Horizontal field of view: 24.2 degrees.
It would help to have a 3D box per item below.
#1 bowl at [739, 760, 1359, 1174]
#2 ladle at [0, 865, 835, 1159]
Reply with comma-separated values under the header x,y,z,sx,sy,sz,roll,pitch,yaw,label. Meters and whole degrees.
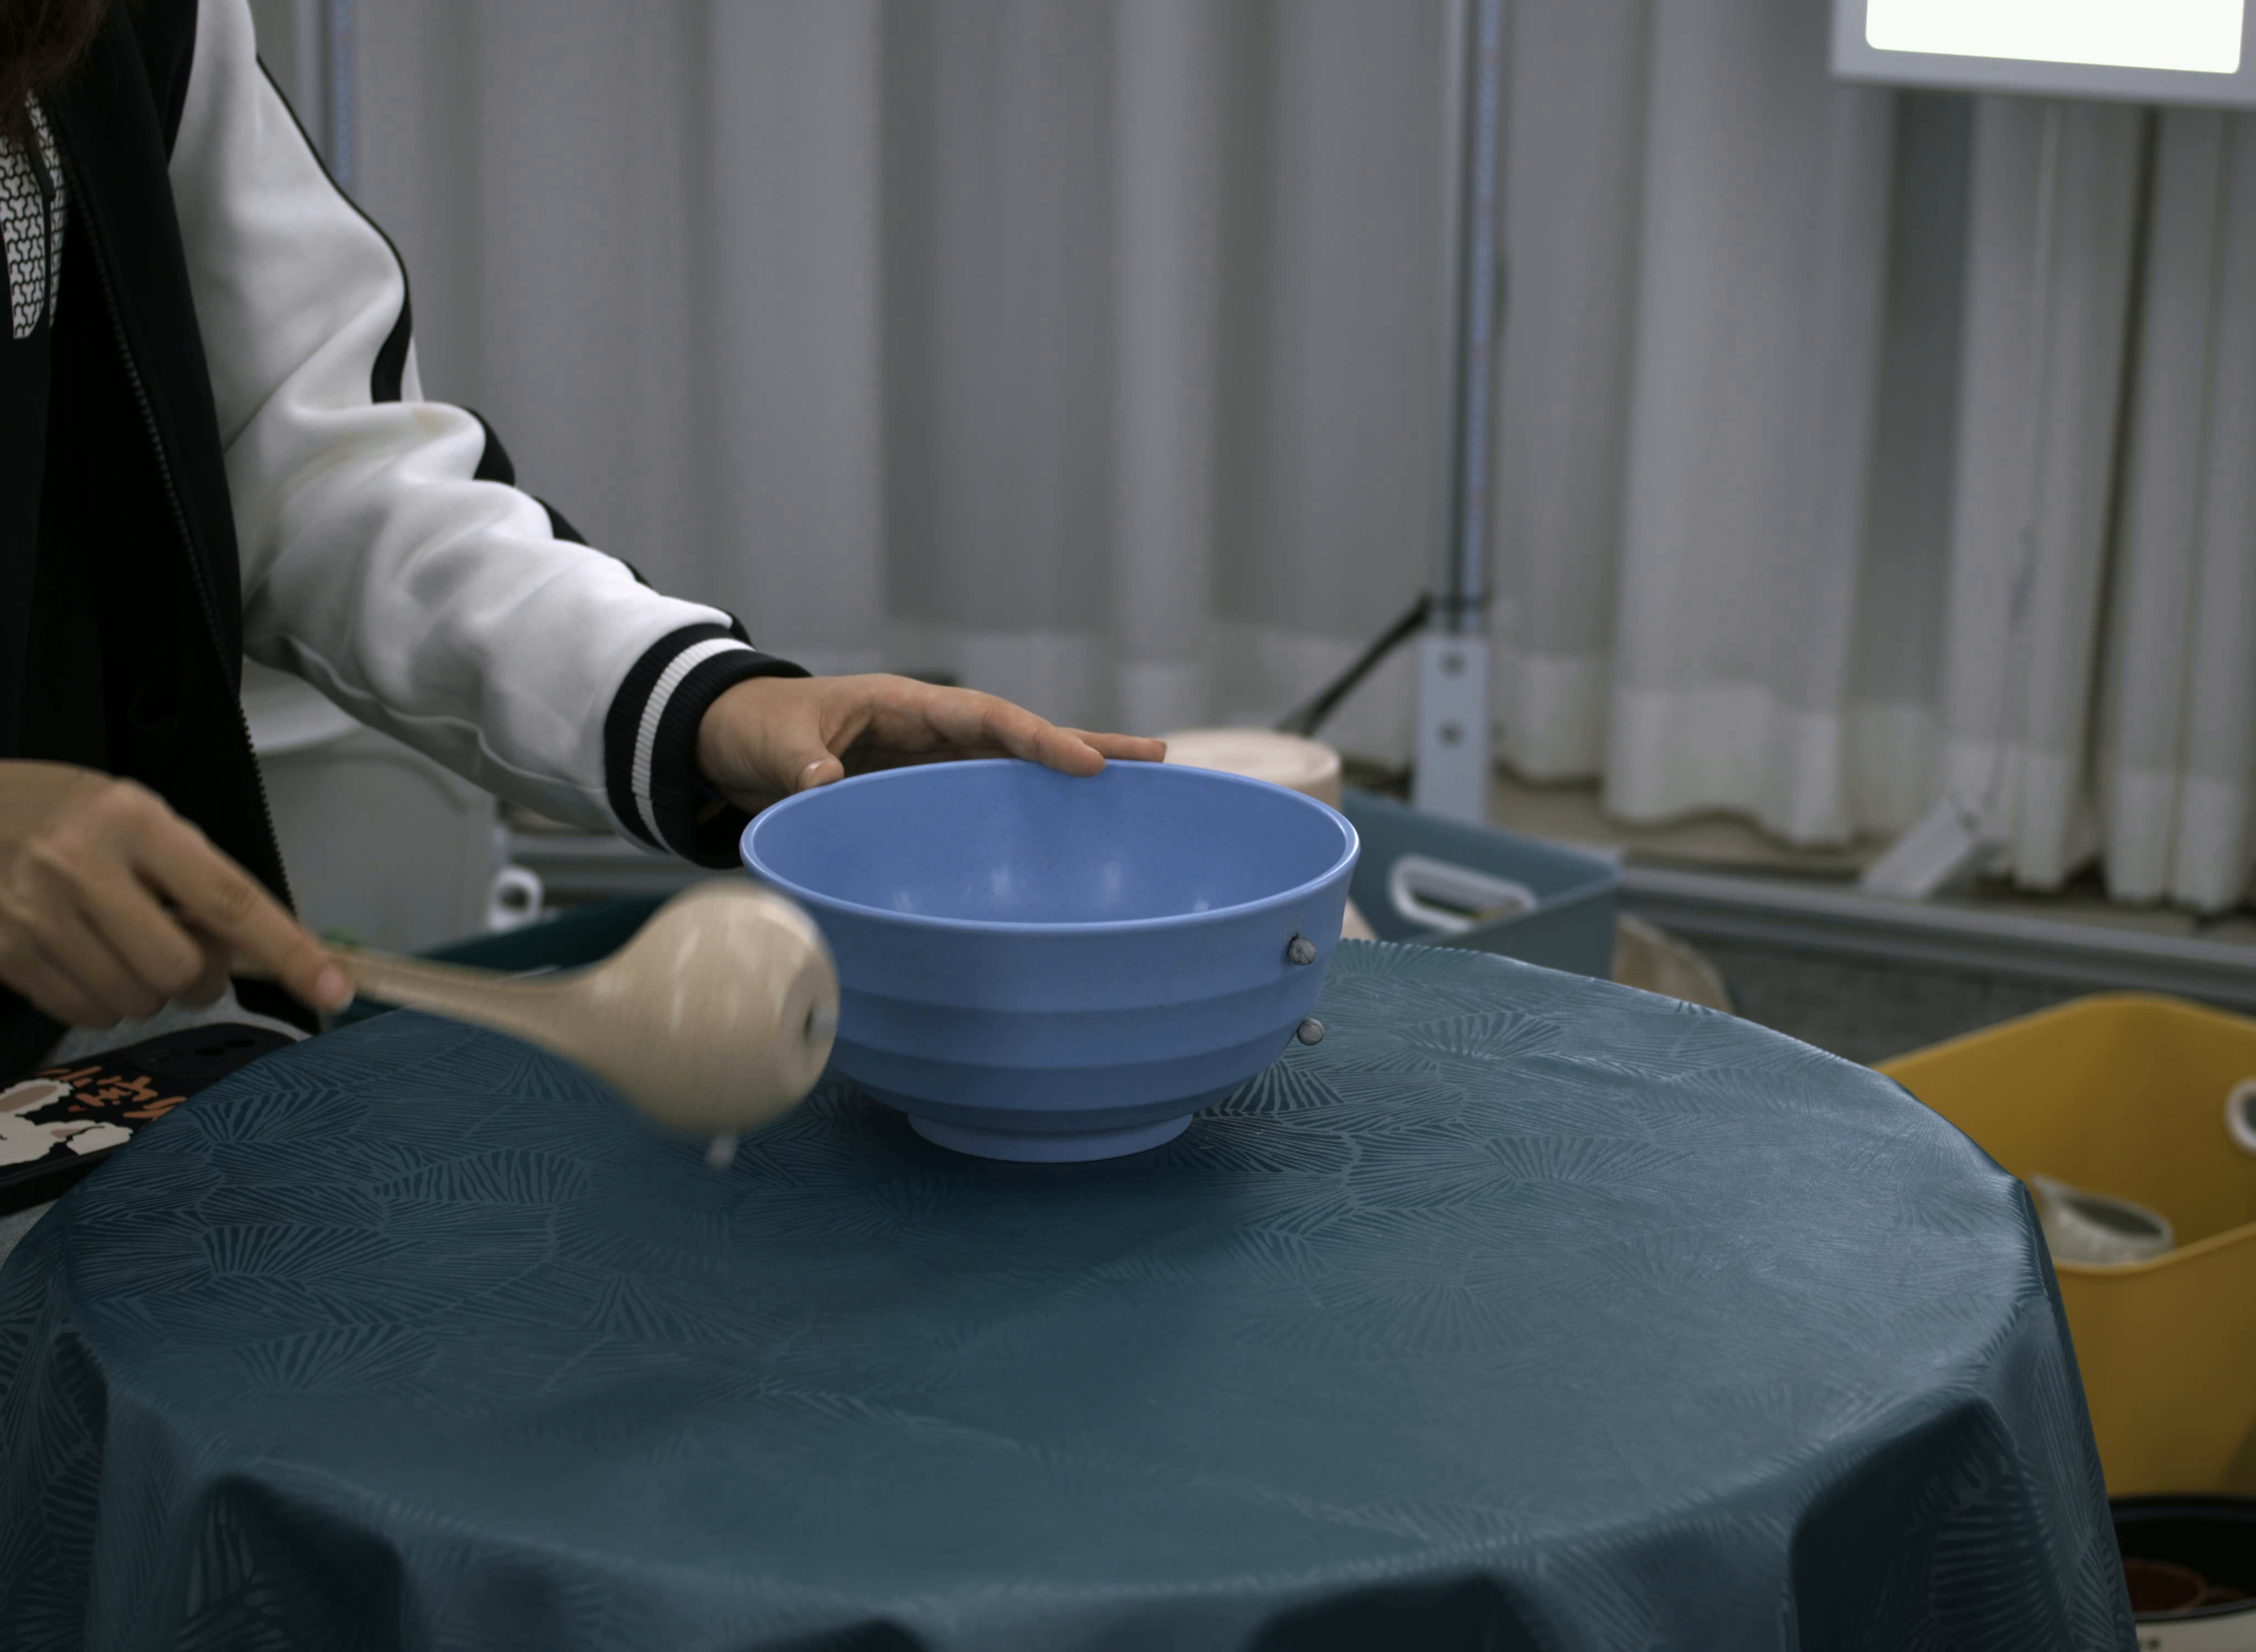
x,y,z,sx,sy,sz,roll,pitch,yaw,label
-0.024,0.051,1.676,0.196,0.096,0.195,0,17,1,bowl
-0.203,0.036,1.522,0.251,0.073,0.073,14,23,24,ladle
